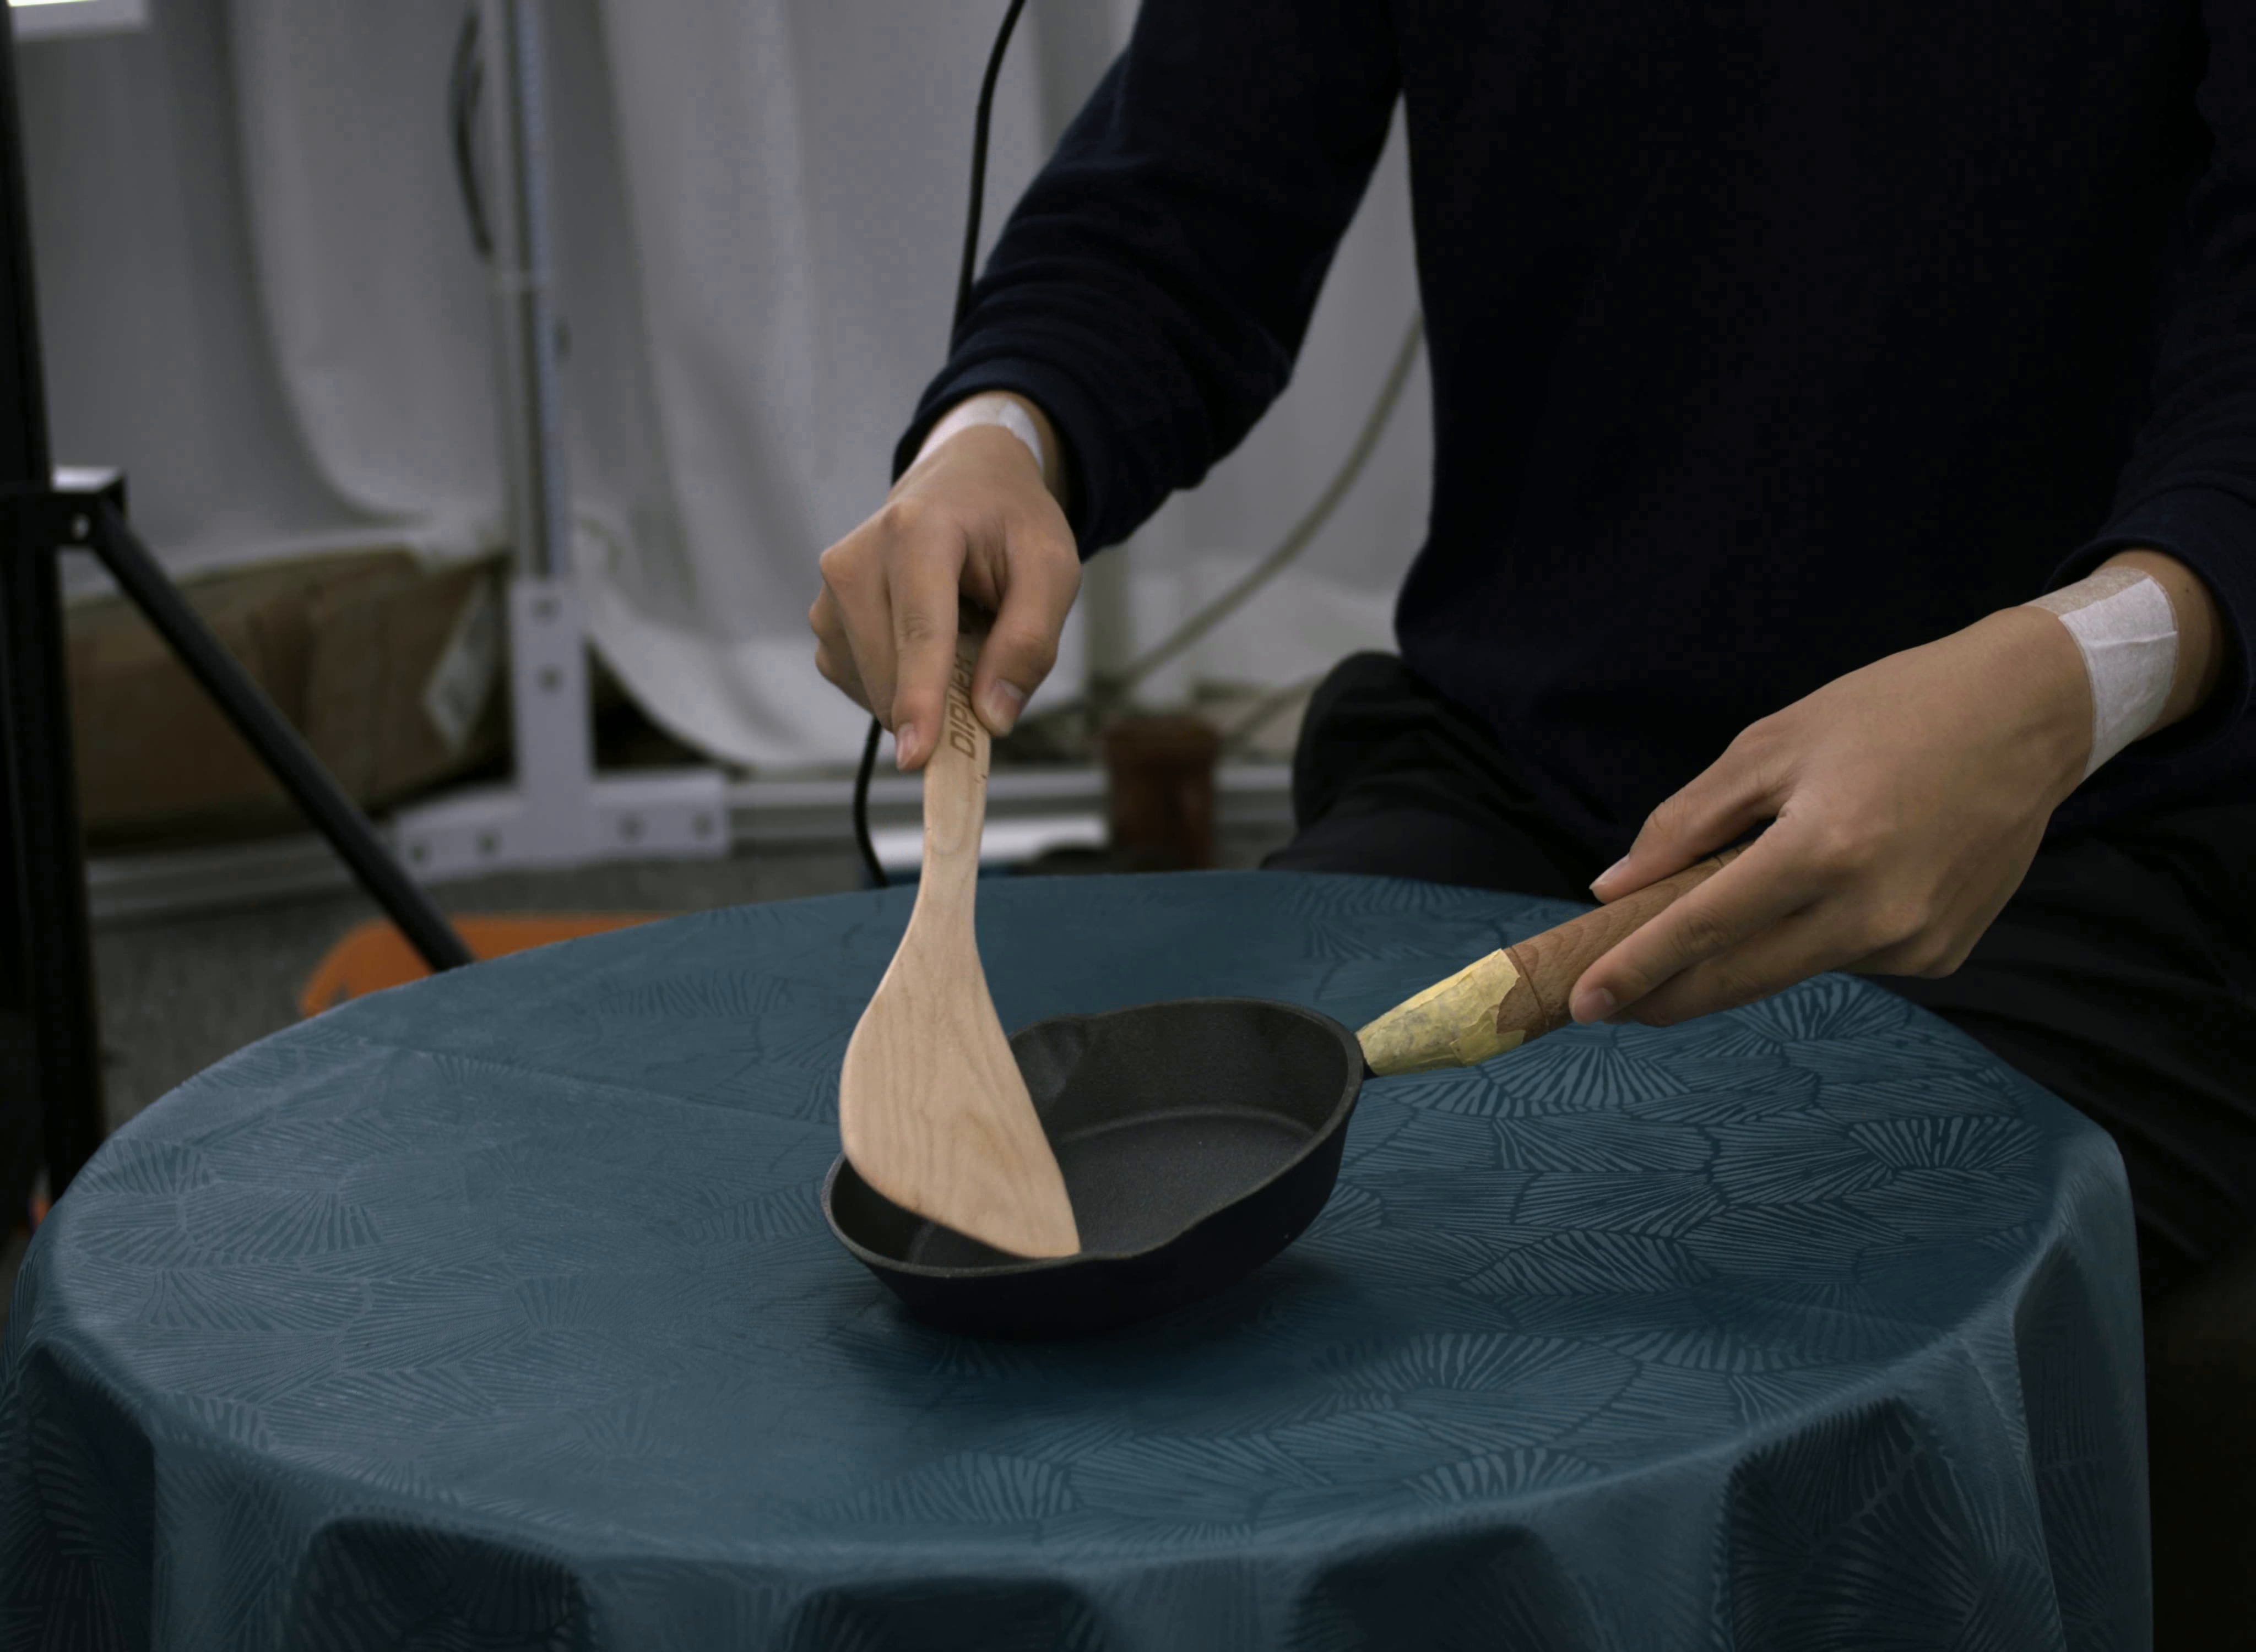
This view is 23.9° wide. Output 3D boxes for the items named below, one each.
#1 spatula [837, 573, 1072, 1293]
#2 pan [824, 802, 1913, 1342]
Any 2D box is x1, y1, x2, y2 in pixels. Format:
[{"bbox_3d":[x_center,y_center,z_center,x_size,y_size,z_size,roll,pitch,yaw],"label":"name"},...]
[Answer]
[{"bbox_3d":[-0.049,0.021,1.534,0.078,0.016,0.331,31,30,-22],"label":"spatula"},{"bbox_3d":[0.072,0.065,1.479,0.323,0.049,0.171,-19,21,-1],"label":"pan"}]
